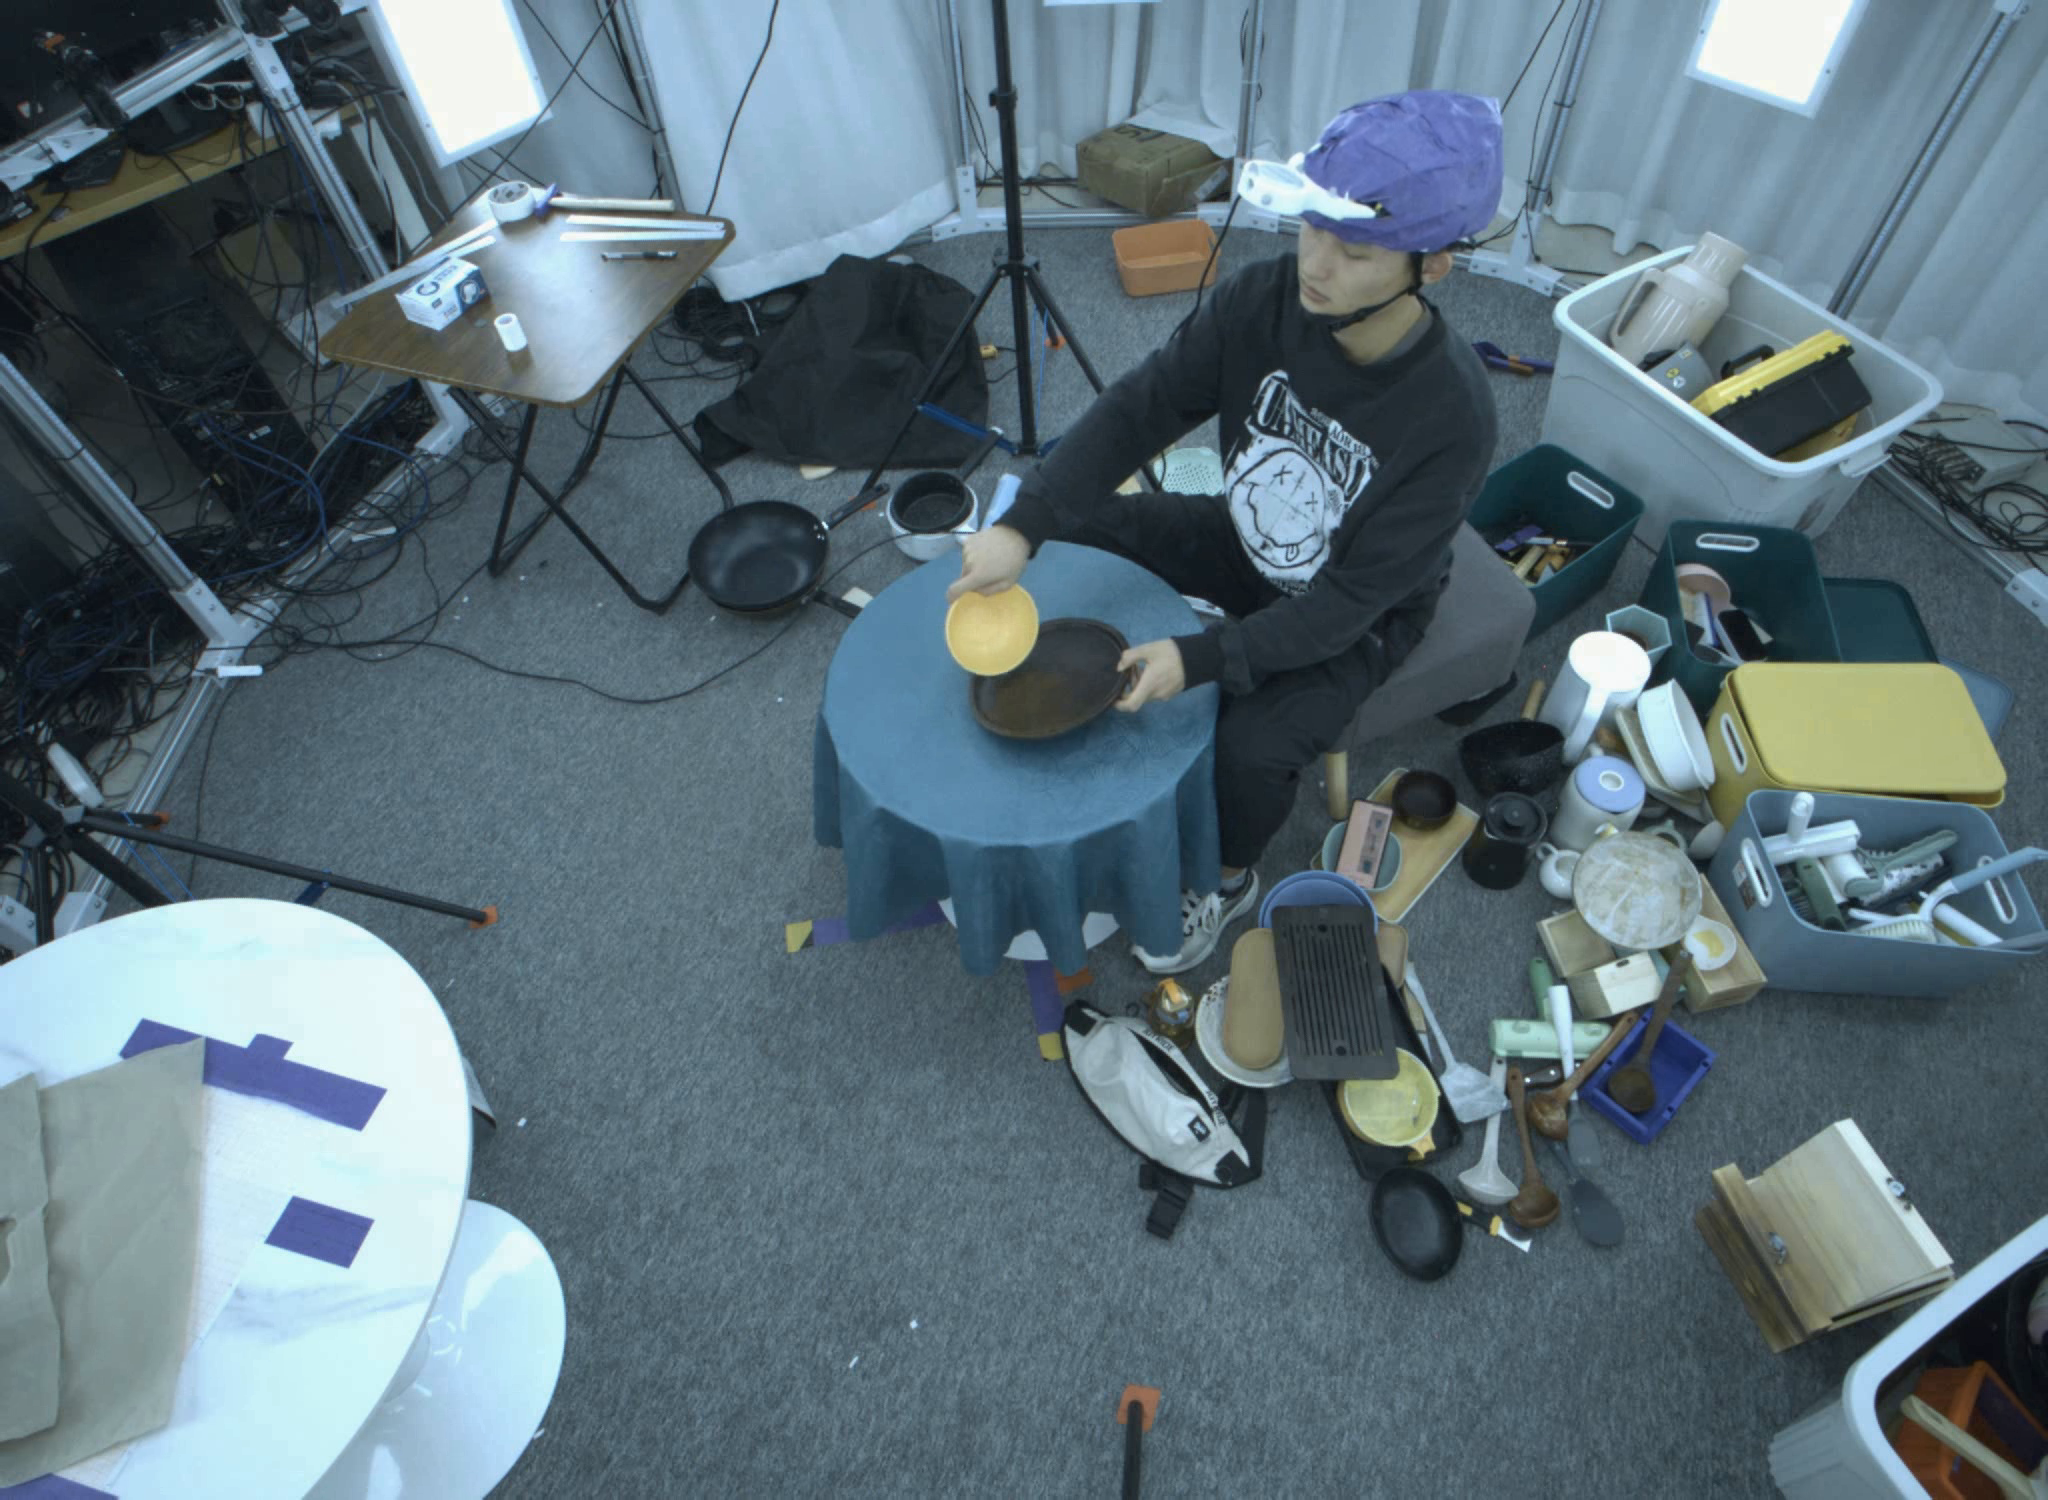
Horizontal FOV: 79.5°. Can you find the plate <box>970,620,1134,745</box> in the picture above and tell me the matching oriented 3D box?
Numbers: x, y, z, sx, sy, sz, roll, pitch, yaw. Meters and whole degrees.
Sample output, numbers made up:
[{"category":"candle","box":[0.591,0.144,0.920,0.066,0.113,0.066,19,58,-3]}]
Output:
[{"category":"plate","box":[0.041,-0.100,1.815,0.253,0.029,0.252,-12,43,12]}]

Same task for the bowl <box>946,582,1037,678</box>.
[{"category":"bowl","box":[-0.058,-0.183,1.821,0.146,0.147,0.059,-29,29,-17]}]
